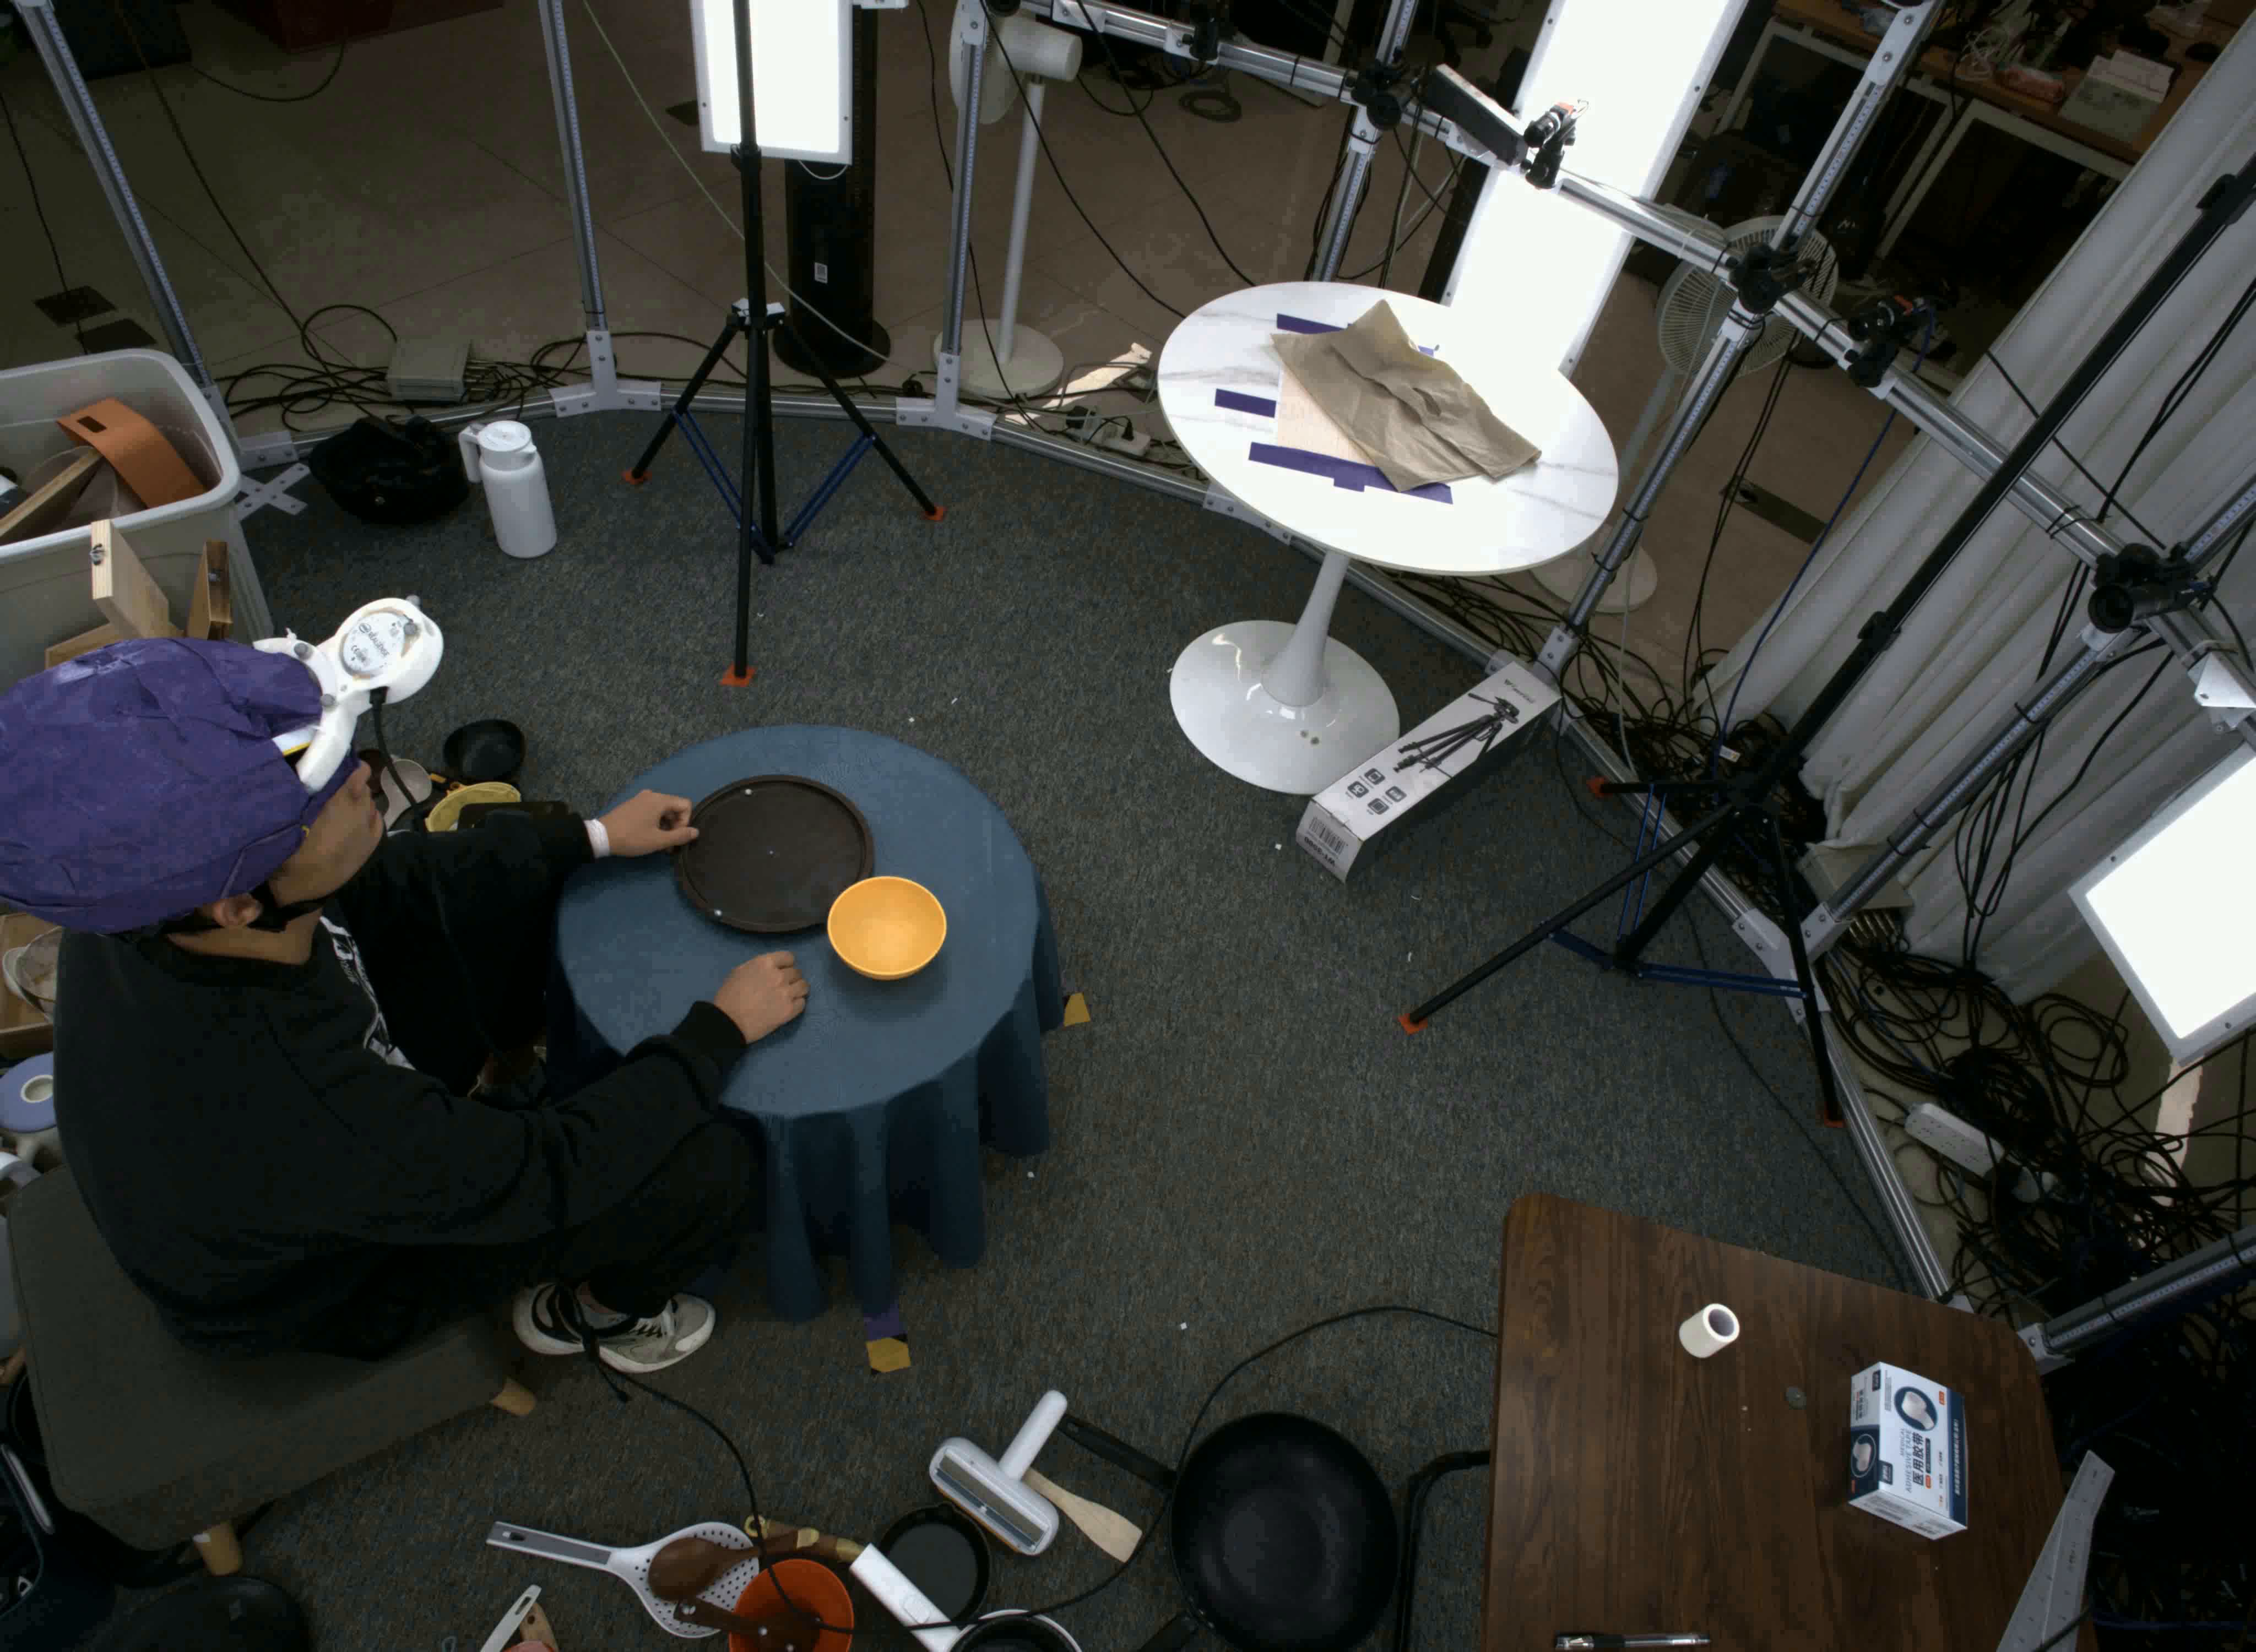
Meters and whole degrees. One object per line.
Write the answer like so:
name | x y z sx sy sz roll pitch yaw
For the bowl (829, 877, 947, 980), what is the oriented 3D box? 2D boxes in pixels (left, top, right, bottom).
bowl | -0.299 0.137 1.623 0.144 0.061 0.143 6 53 -6

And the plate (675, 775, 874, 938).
plate | -0.457 0.036 1.680 0.254 0.029 0.250 8 54 -10
